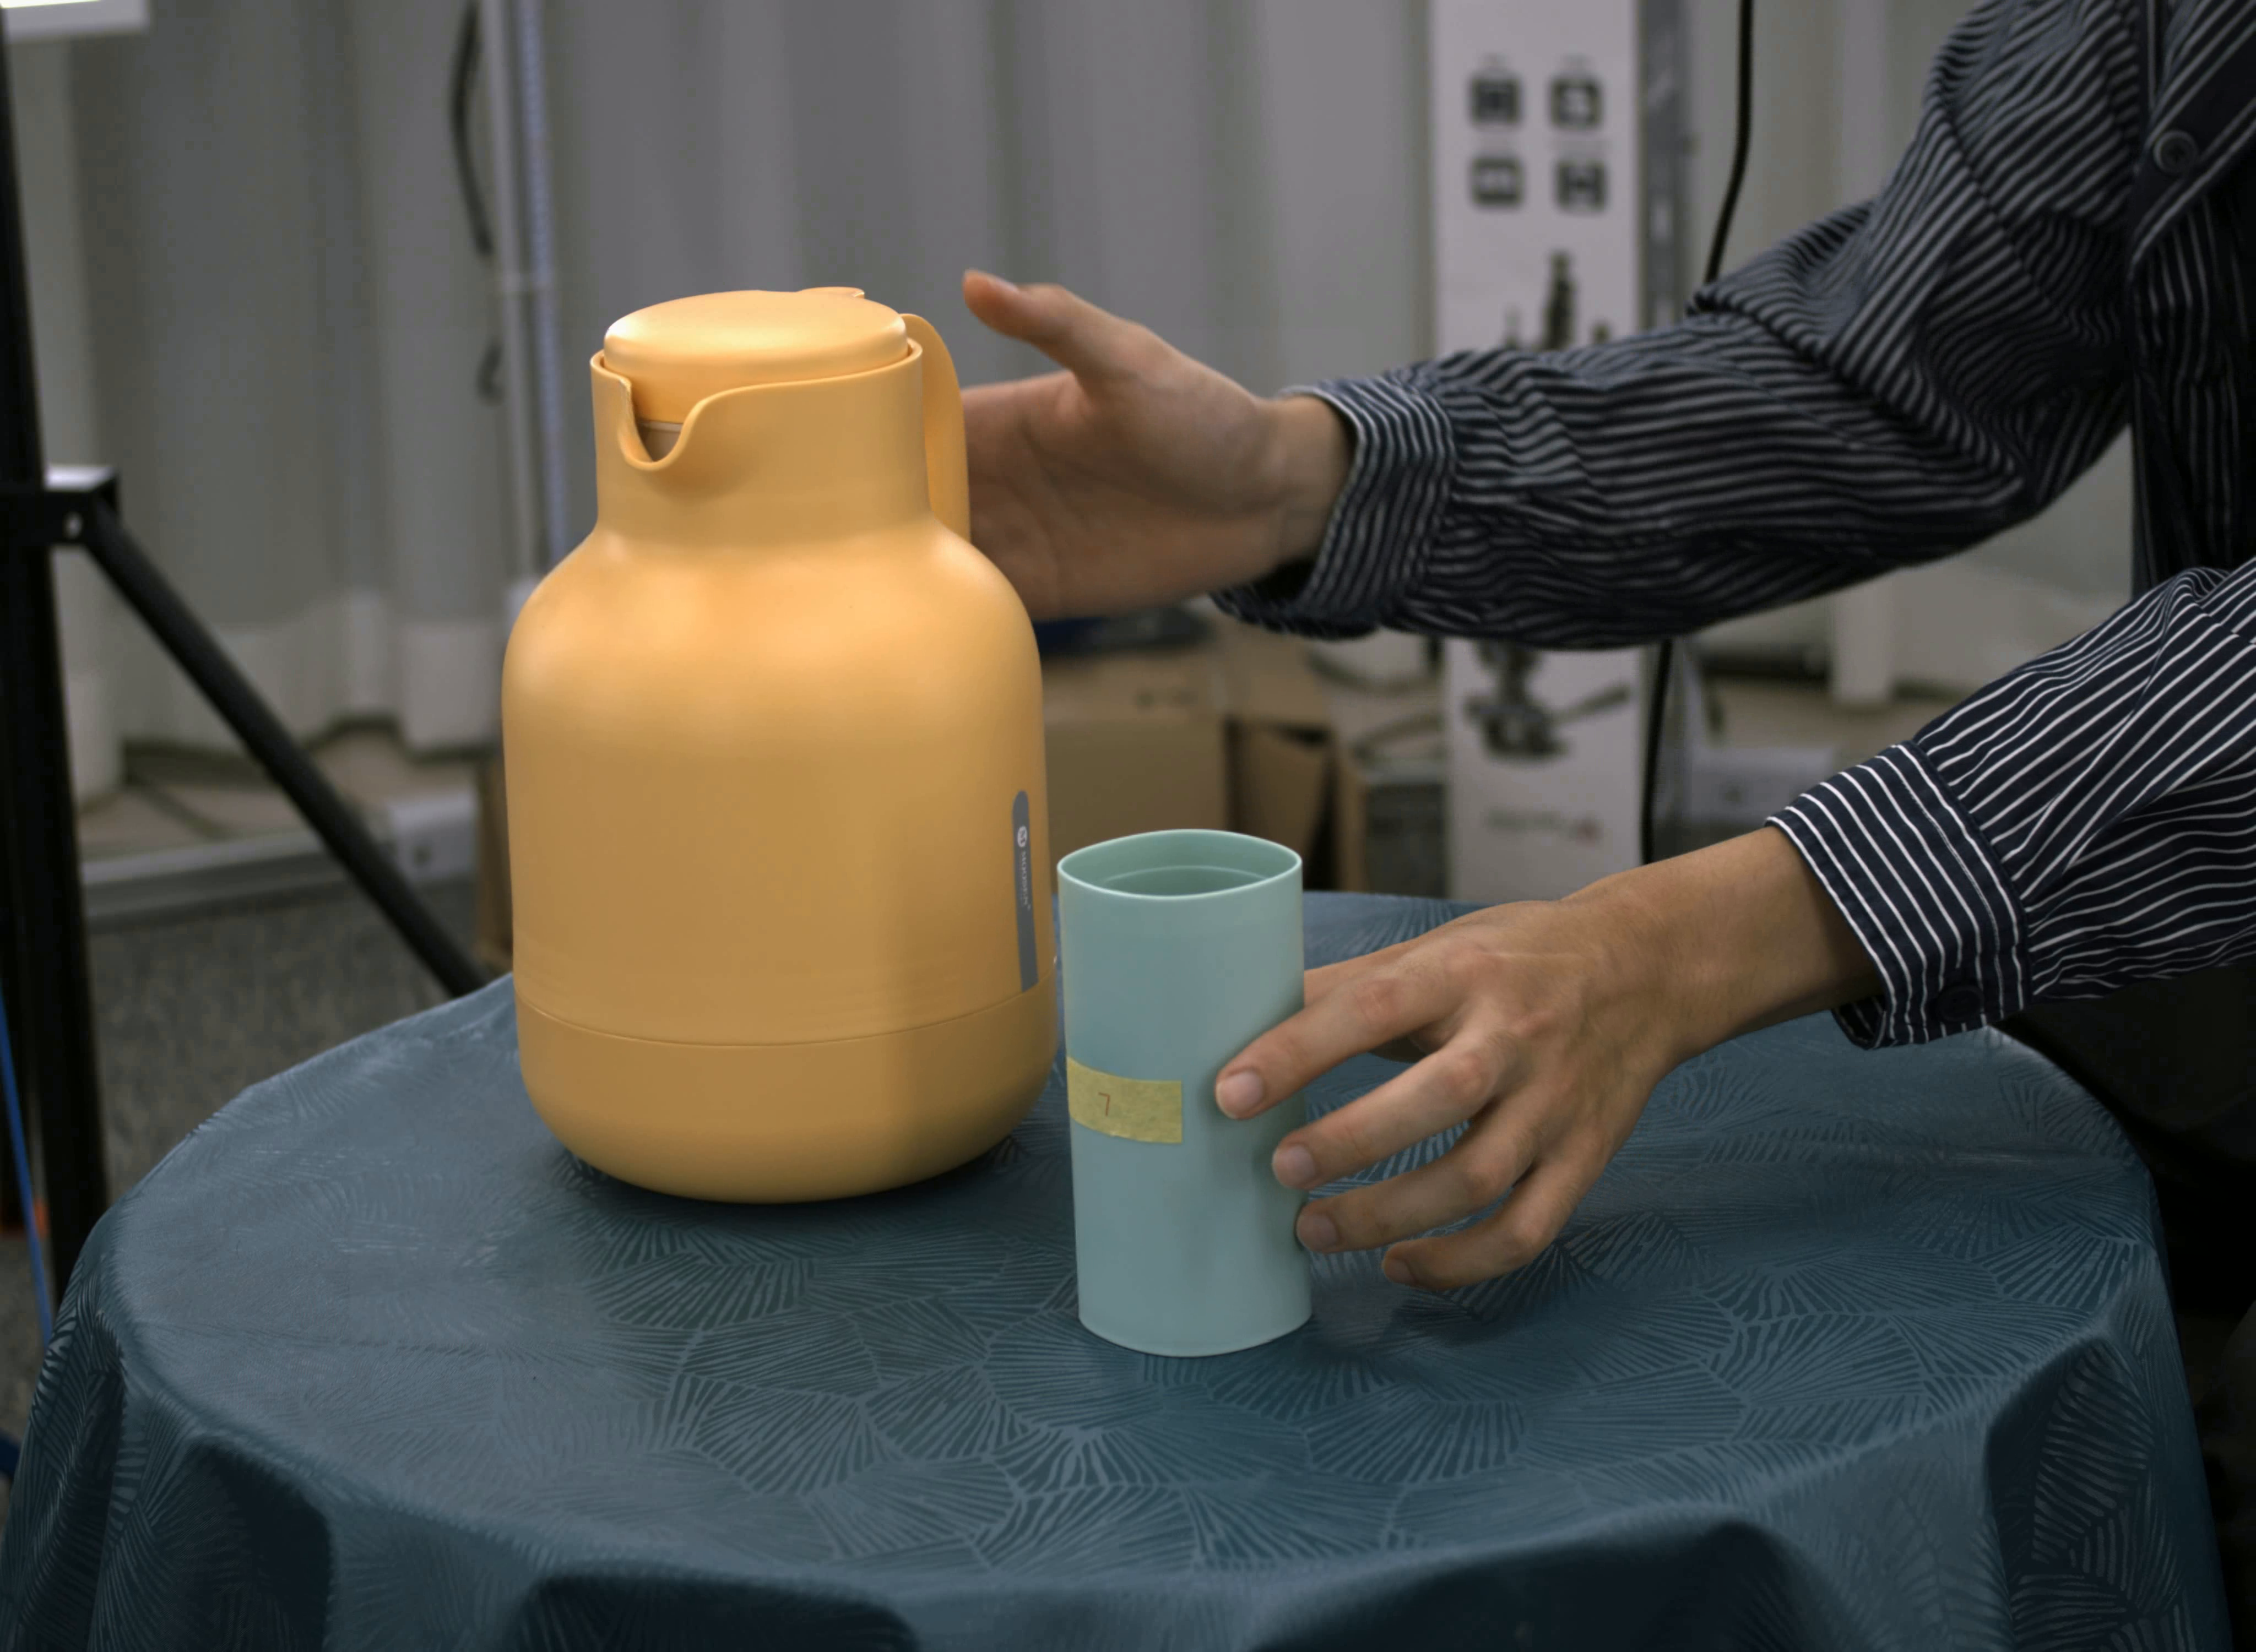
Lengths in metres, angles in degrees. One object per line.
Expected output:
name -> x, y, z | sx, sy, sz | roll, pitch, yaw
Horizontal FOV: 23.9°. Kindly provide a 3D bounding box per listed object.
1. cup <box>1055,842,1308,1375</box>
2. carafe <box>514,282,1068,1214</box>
cup -> 0.017, 0.076, 1.448 | 0.066, 0.132, 0.067 | -3, 15, -1
carafe -> -0.092, -0.031, 1.589 | 0.165, 0.260, 0.200 | 5, 17, 20
